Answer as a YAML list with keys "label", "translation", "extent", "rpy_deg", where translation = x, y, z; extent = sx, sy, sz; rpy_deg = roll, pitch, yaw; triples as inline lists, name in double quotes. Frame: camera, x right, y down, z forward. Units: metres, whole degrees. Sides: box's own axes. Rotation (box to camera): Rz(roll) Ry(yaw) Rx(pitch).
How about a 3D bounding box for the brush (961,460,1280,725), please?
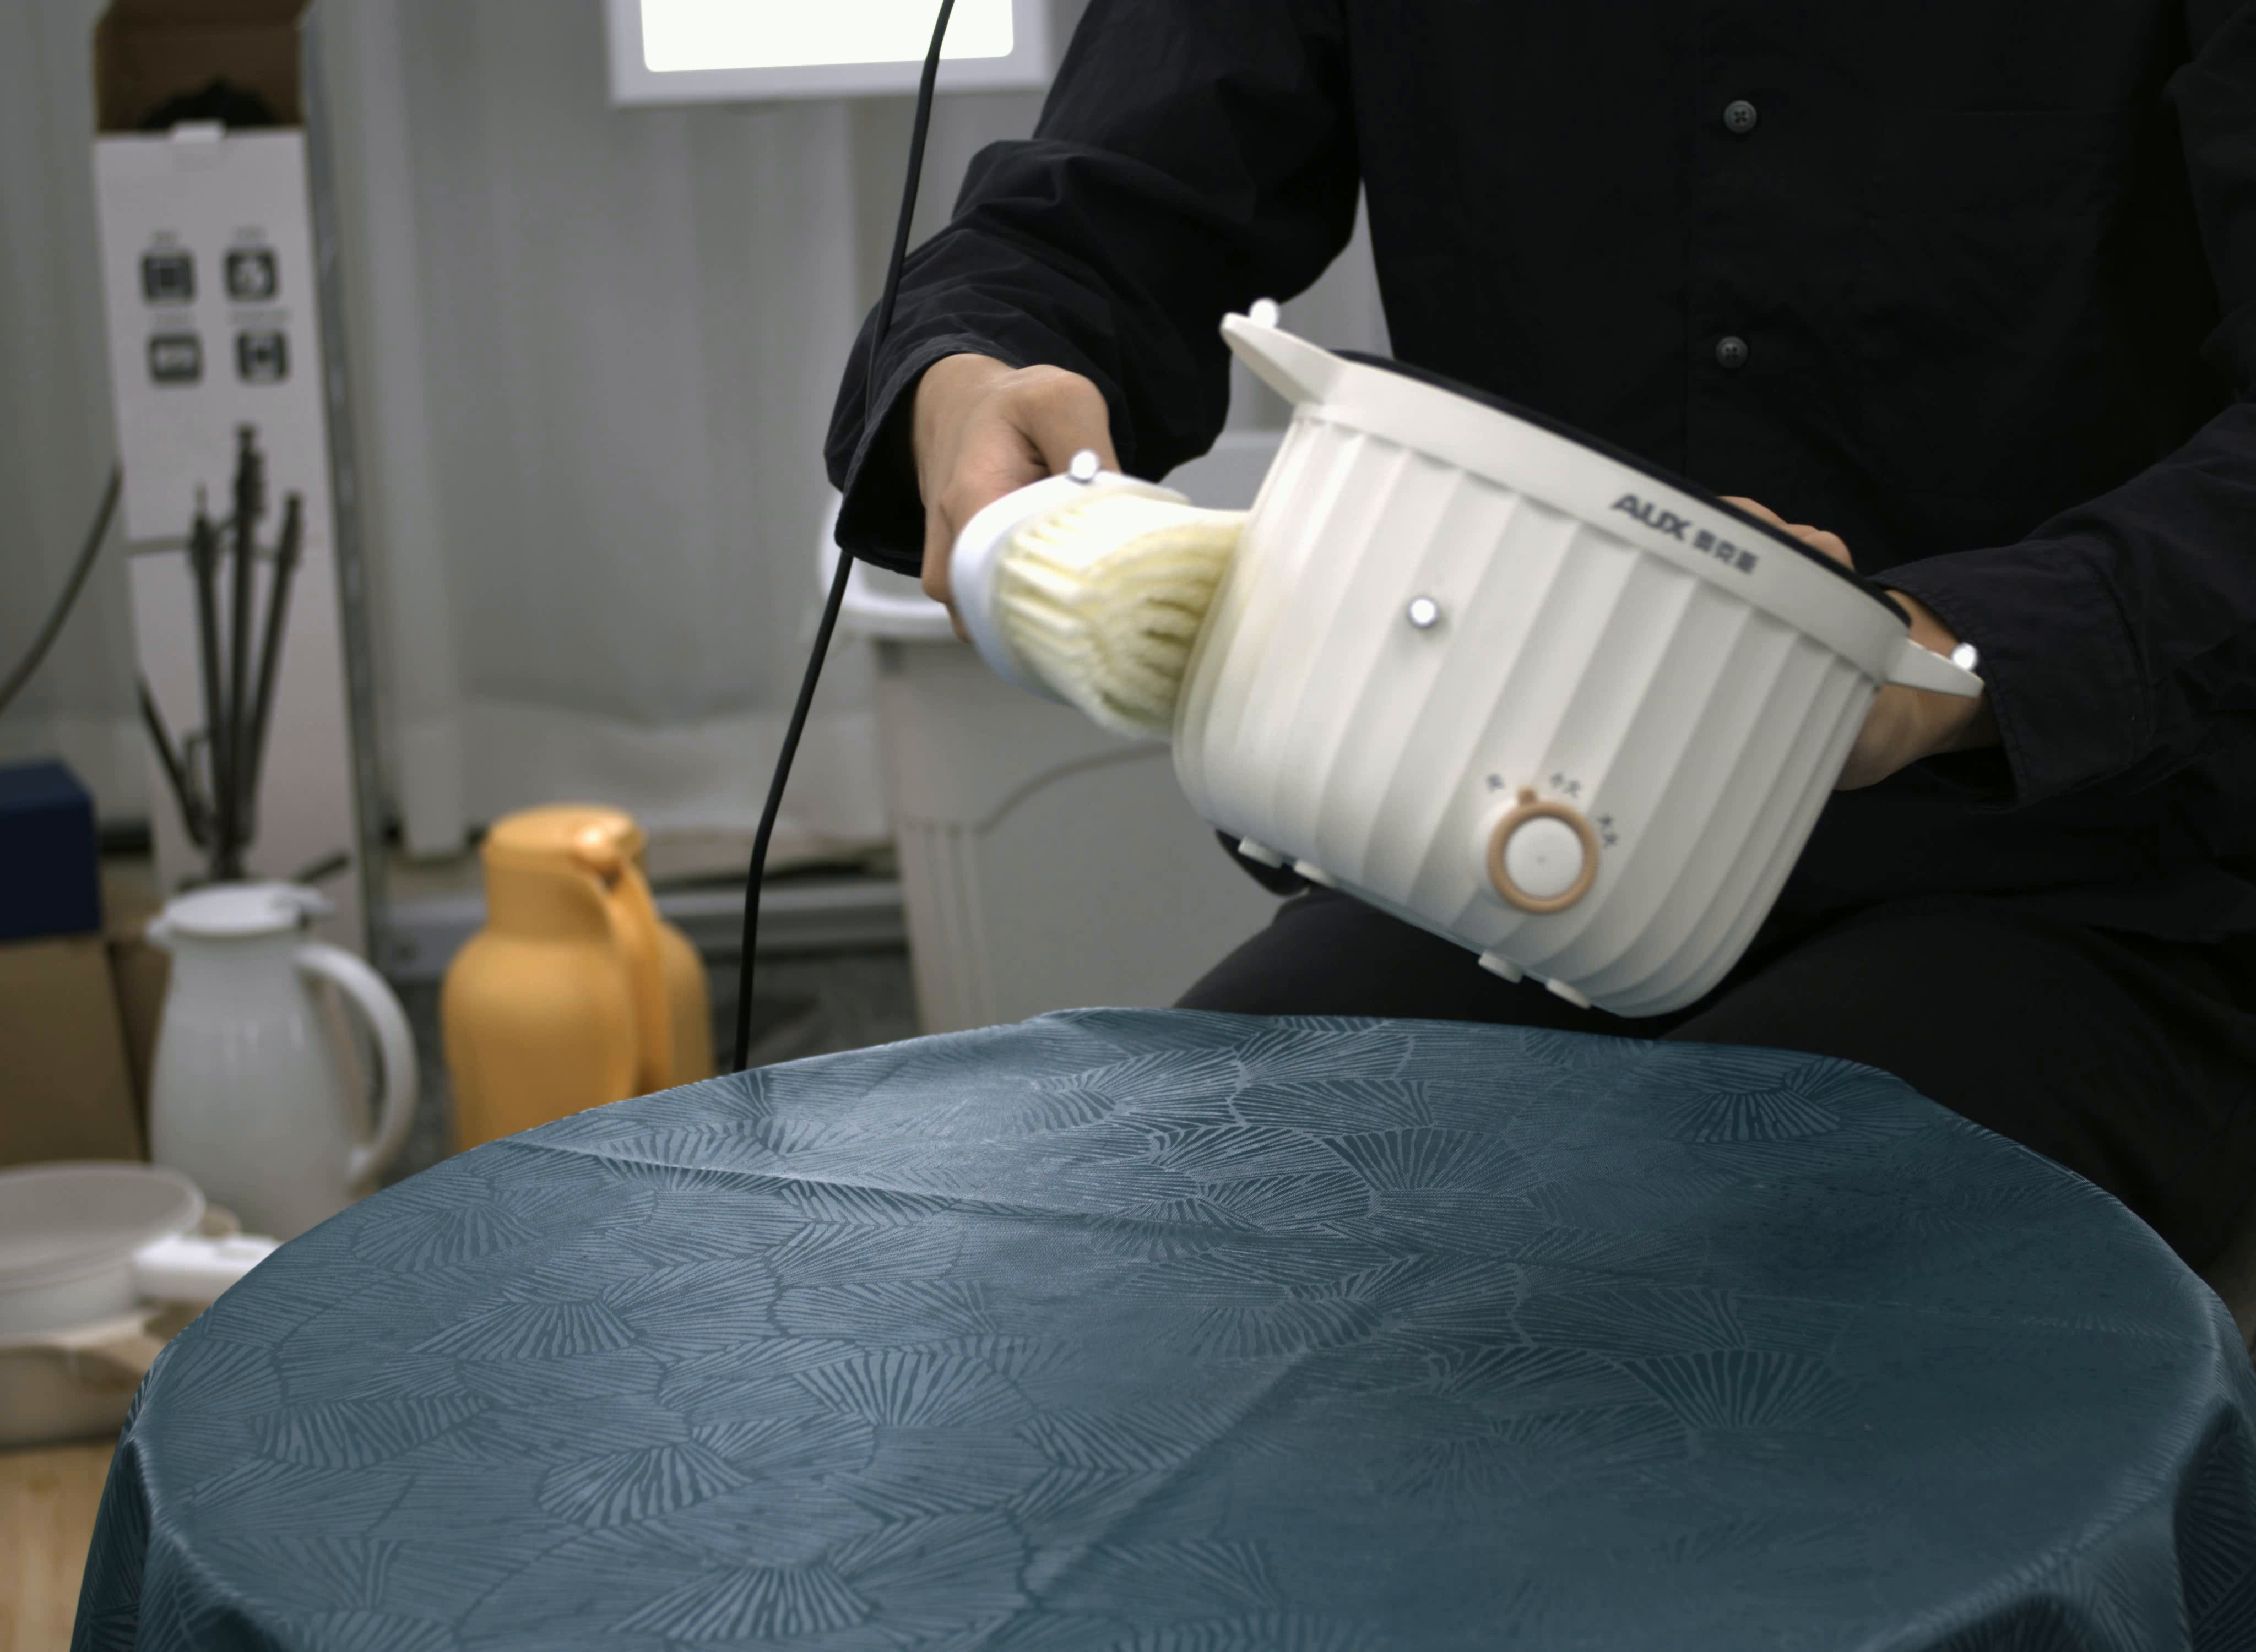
- label: "brush"
  translation: [0.013, -0.072, 1.626]
  extent: [0.083, 0.085, 0.325]
  rpy_deg: [-34, -3, 6]

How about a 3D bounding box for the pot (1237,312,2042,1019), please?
- label: "pot"
  translation: [0.128, -0.032, 1.516]
  extent: [0.239, 0.143, 0.191]
  rpy_deg: [24, -4, -11]
